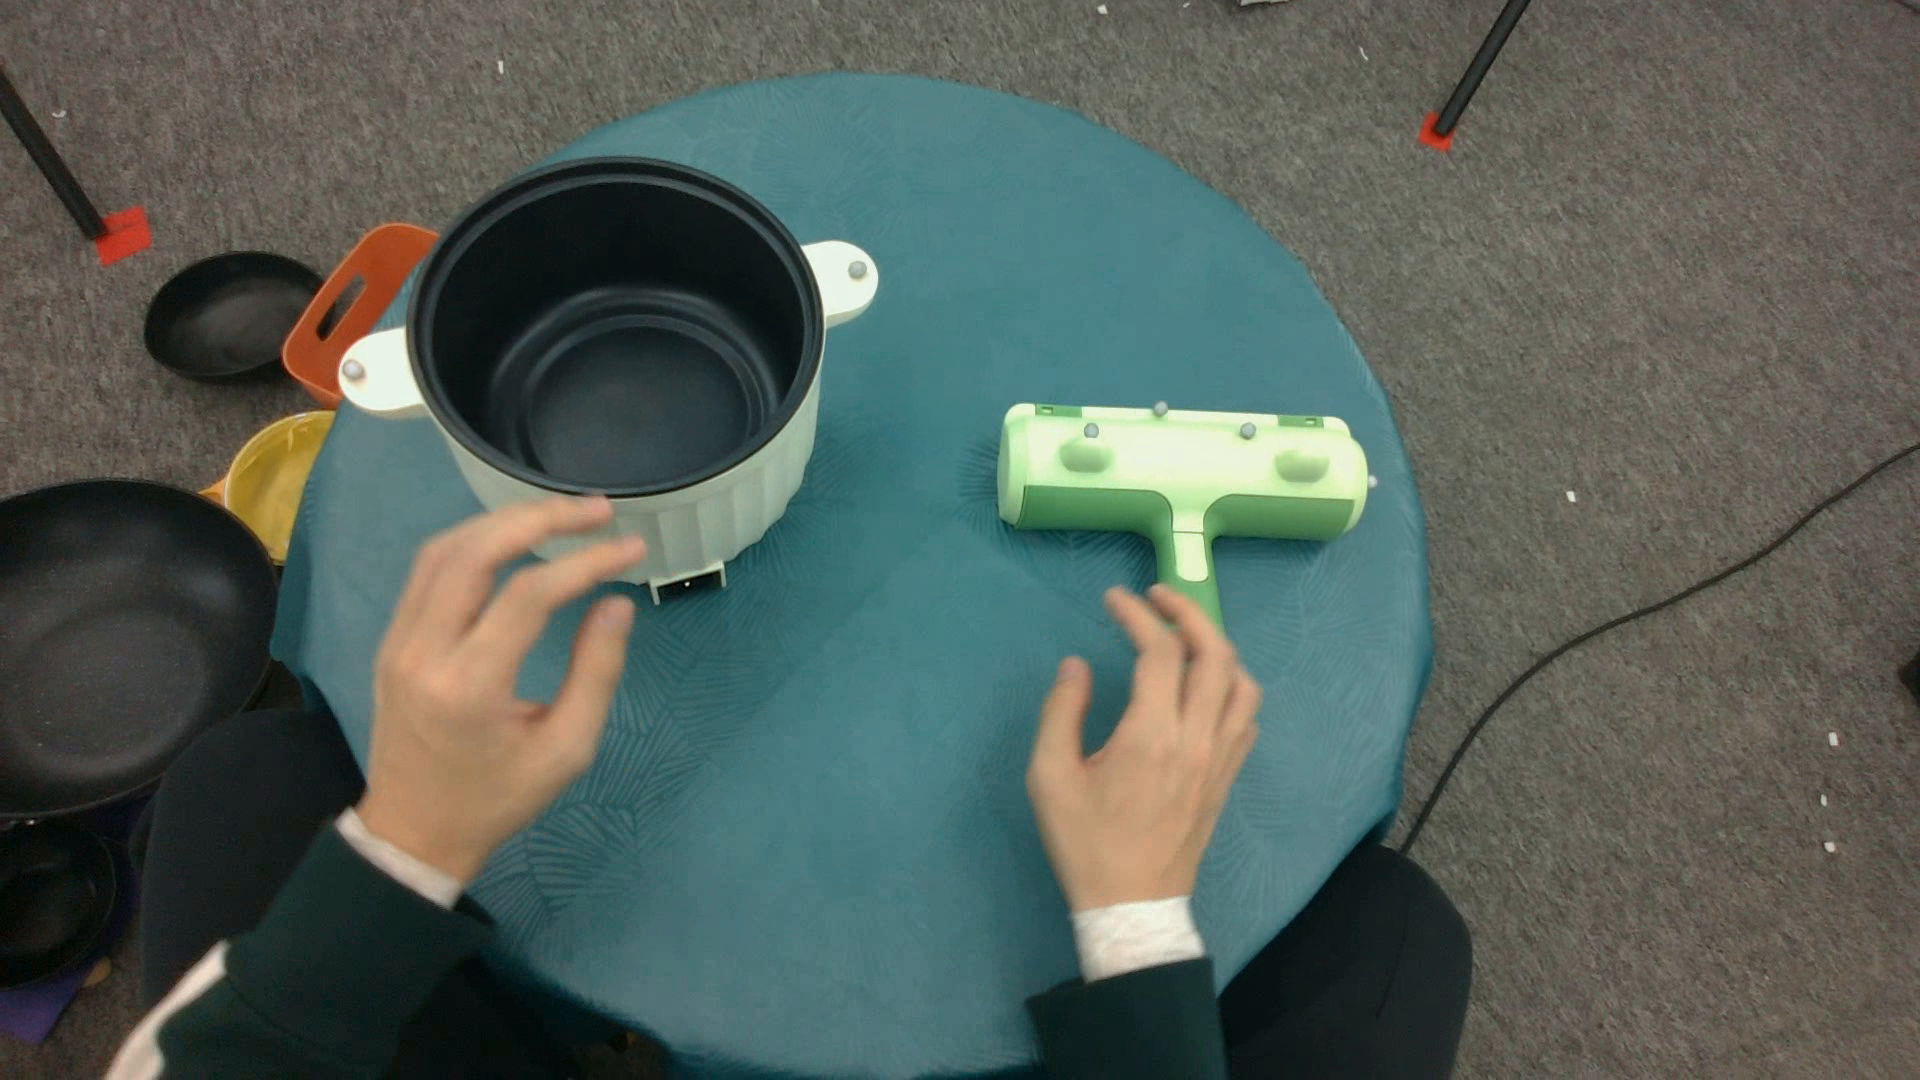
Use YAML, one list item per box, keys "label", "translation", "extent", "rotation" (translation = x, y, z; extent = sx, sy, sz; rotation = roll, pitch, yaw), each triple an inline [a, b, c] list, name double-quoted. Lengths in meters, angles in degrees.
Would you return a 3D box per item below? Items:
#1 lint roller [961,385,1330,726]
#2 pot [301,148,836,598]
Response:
- label: "lint roller"
  translation: [0.104, -0.001, 0.714]
  extent: [0.199, 0.082, 0.184]
  rotation: [1, 60, -8]
- label: "pot"
  translation: [-0.181, -0.081, 0.674]
  extent: [0.241, 0.142, 0.191]
  rotation: [-17, 72, -17]
